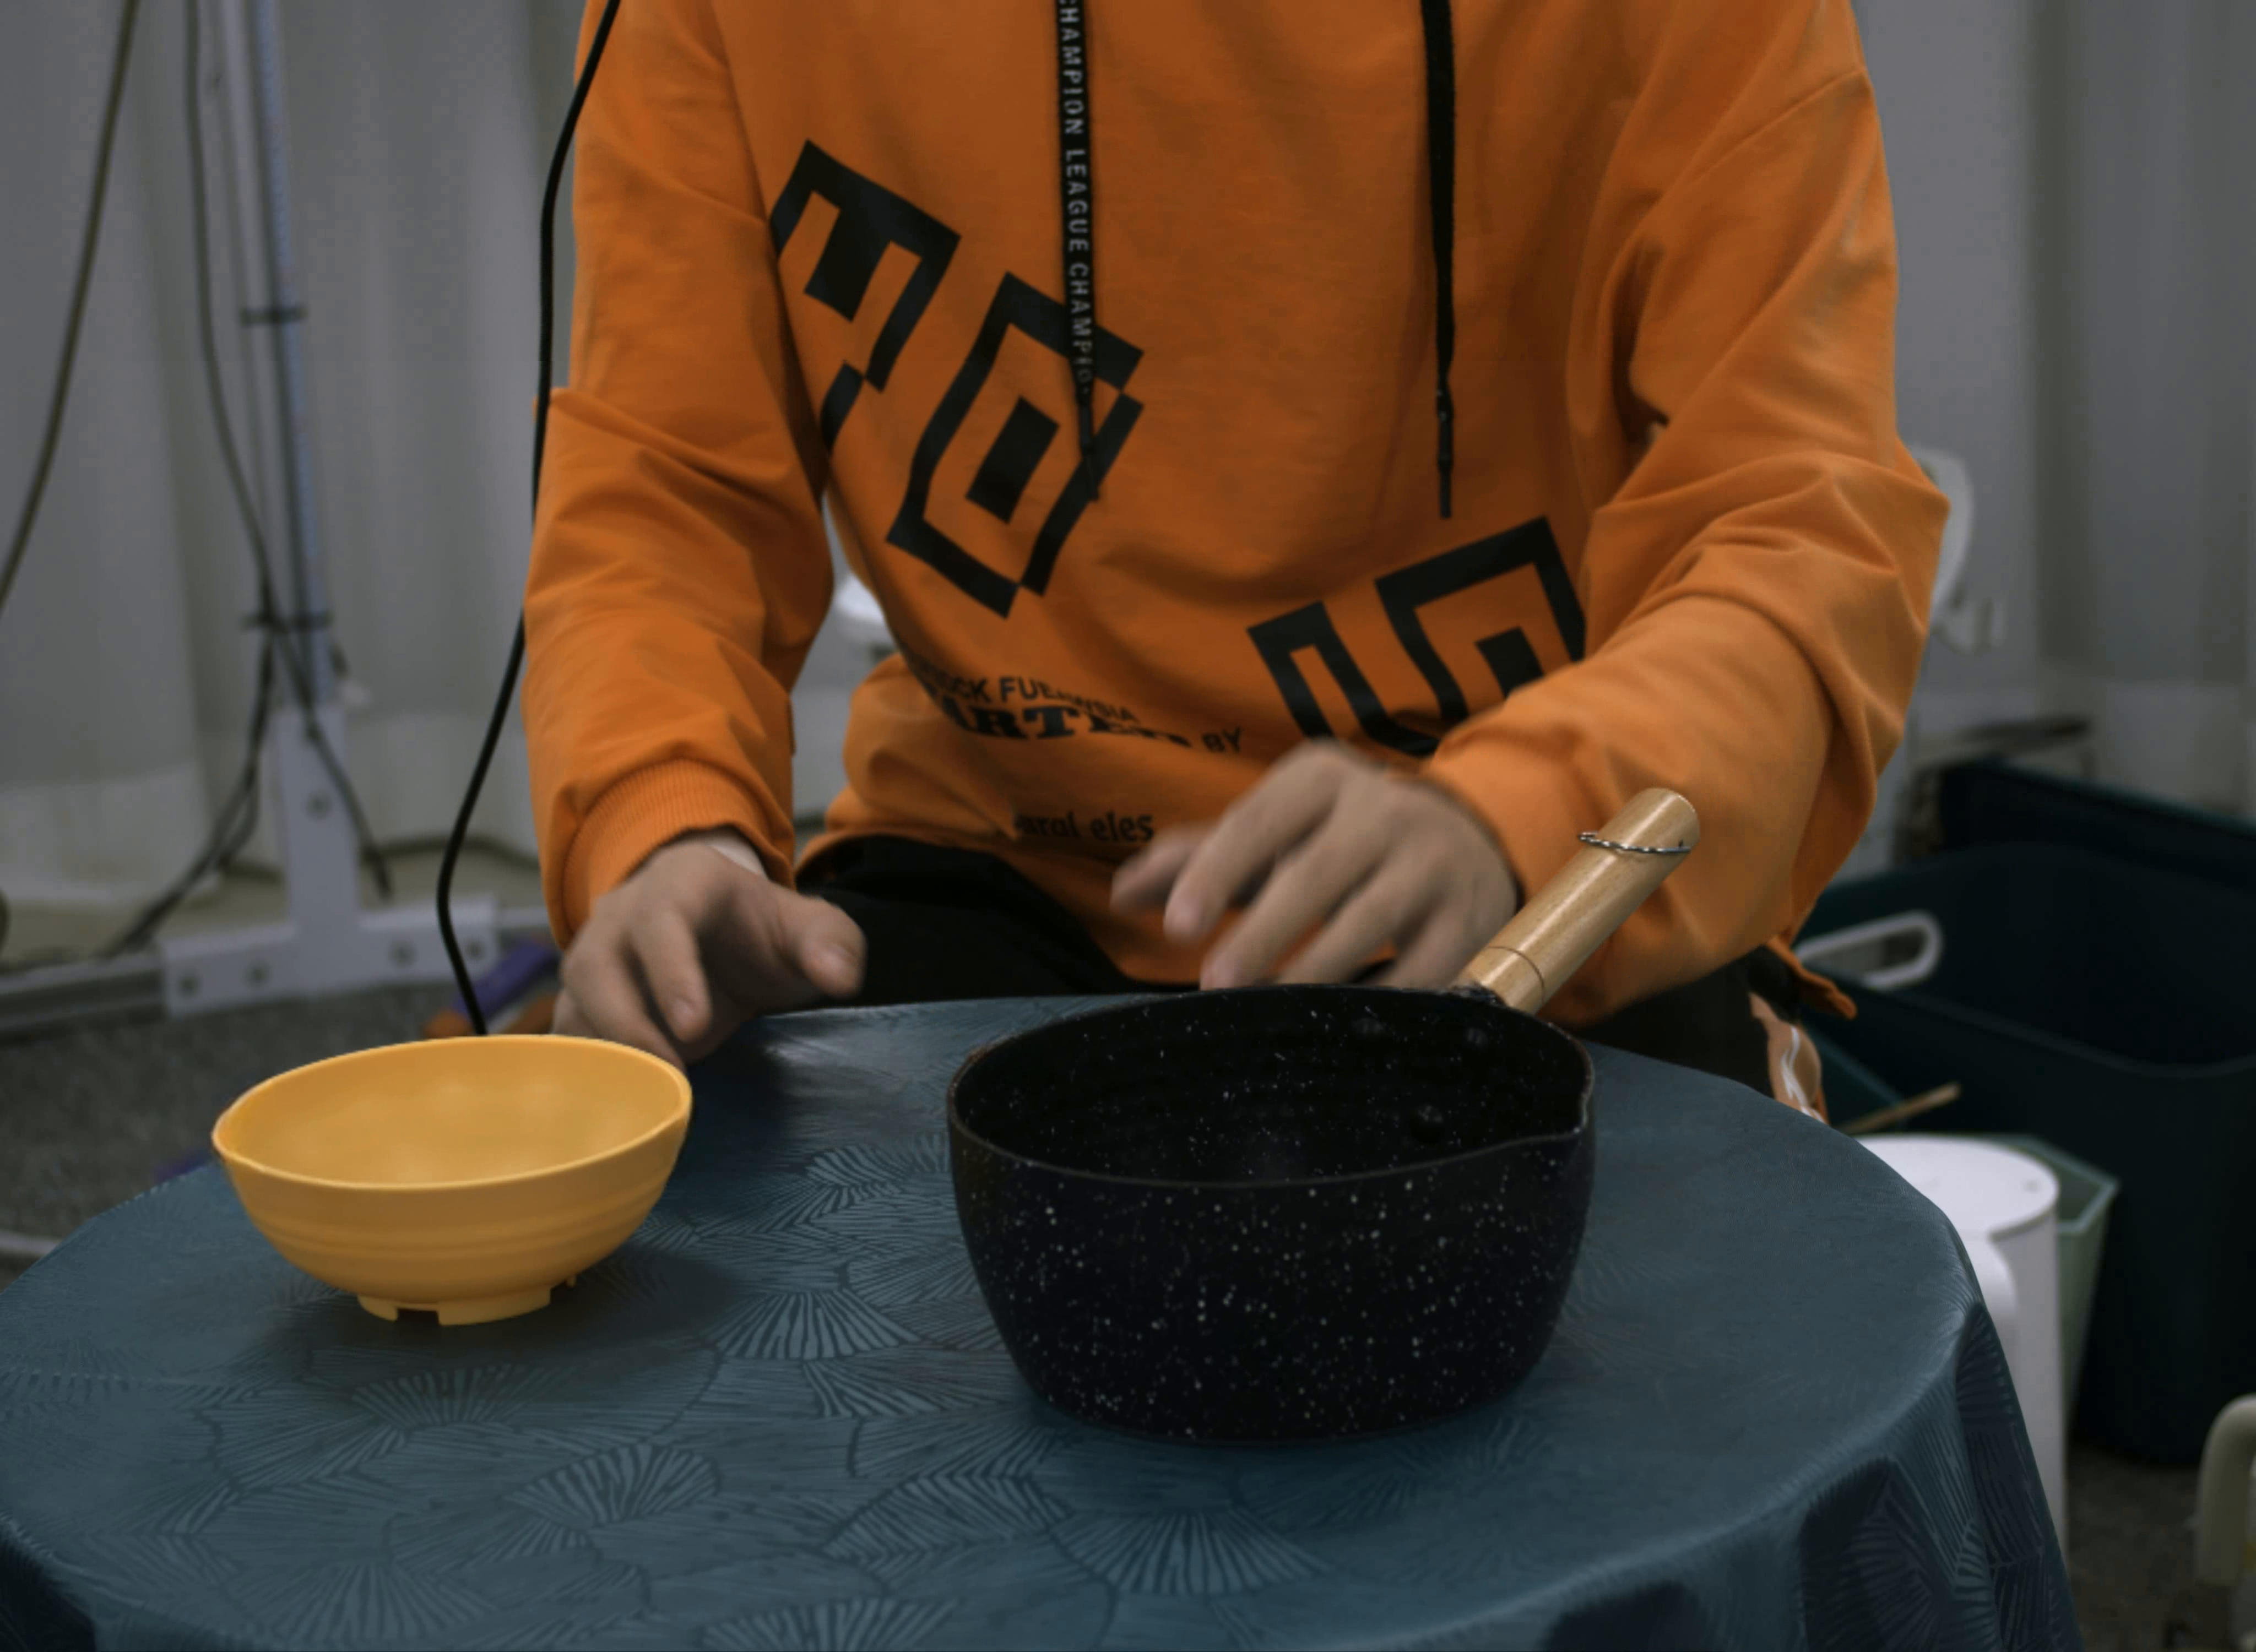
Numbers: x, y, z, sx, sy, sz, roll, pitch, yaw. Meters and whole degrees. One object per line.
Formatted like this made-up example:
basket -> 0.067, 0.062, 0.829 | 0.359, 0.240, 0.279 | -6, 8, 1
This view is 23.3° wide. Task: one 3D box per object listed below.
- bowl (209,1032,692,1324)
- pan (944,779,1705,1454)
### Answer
bowl -> -0.203, 0.112, 1.653 | 0.145, 0.060, 0.146 | -2, 15, 0
pan -> 0.083, 0.081, 1.618 | 0.208, 0.108, 0.343 | 5, 18, 32
